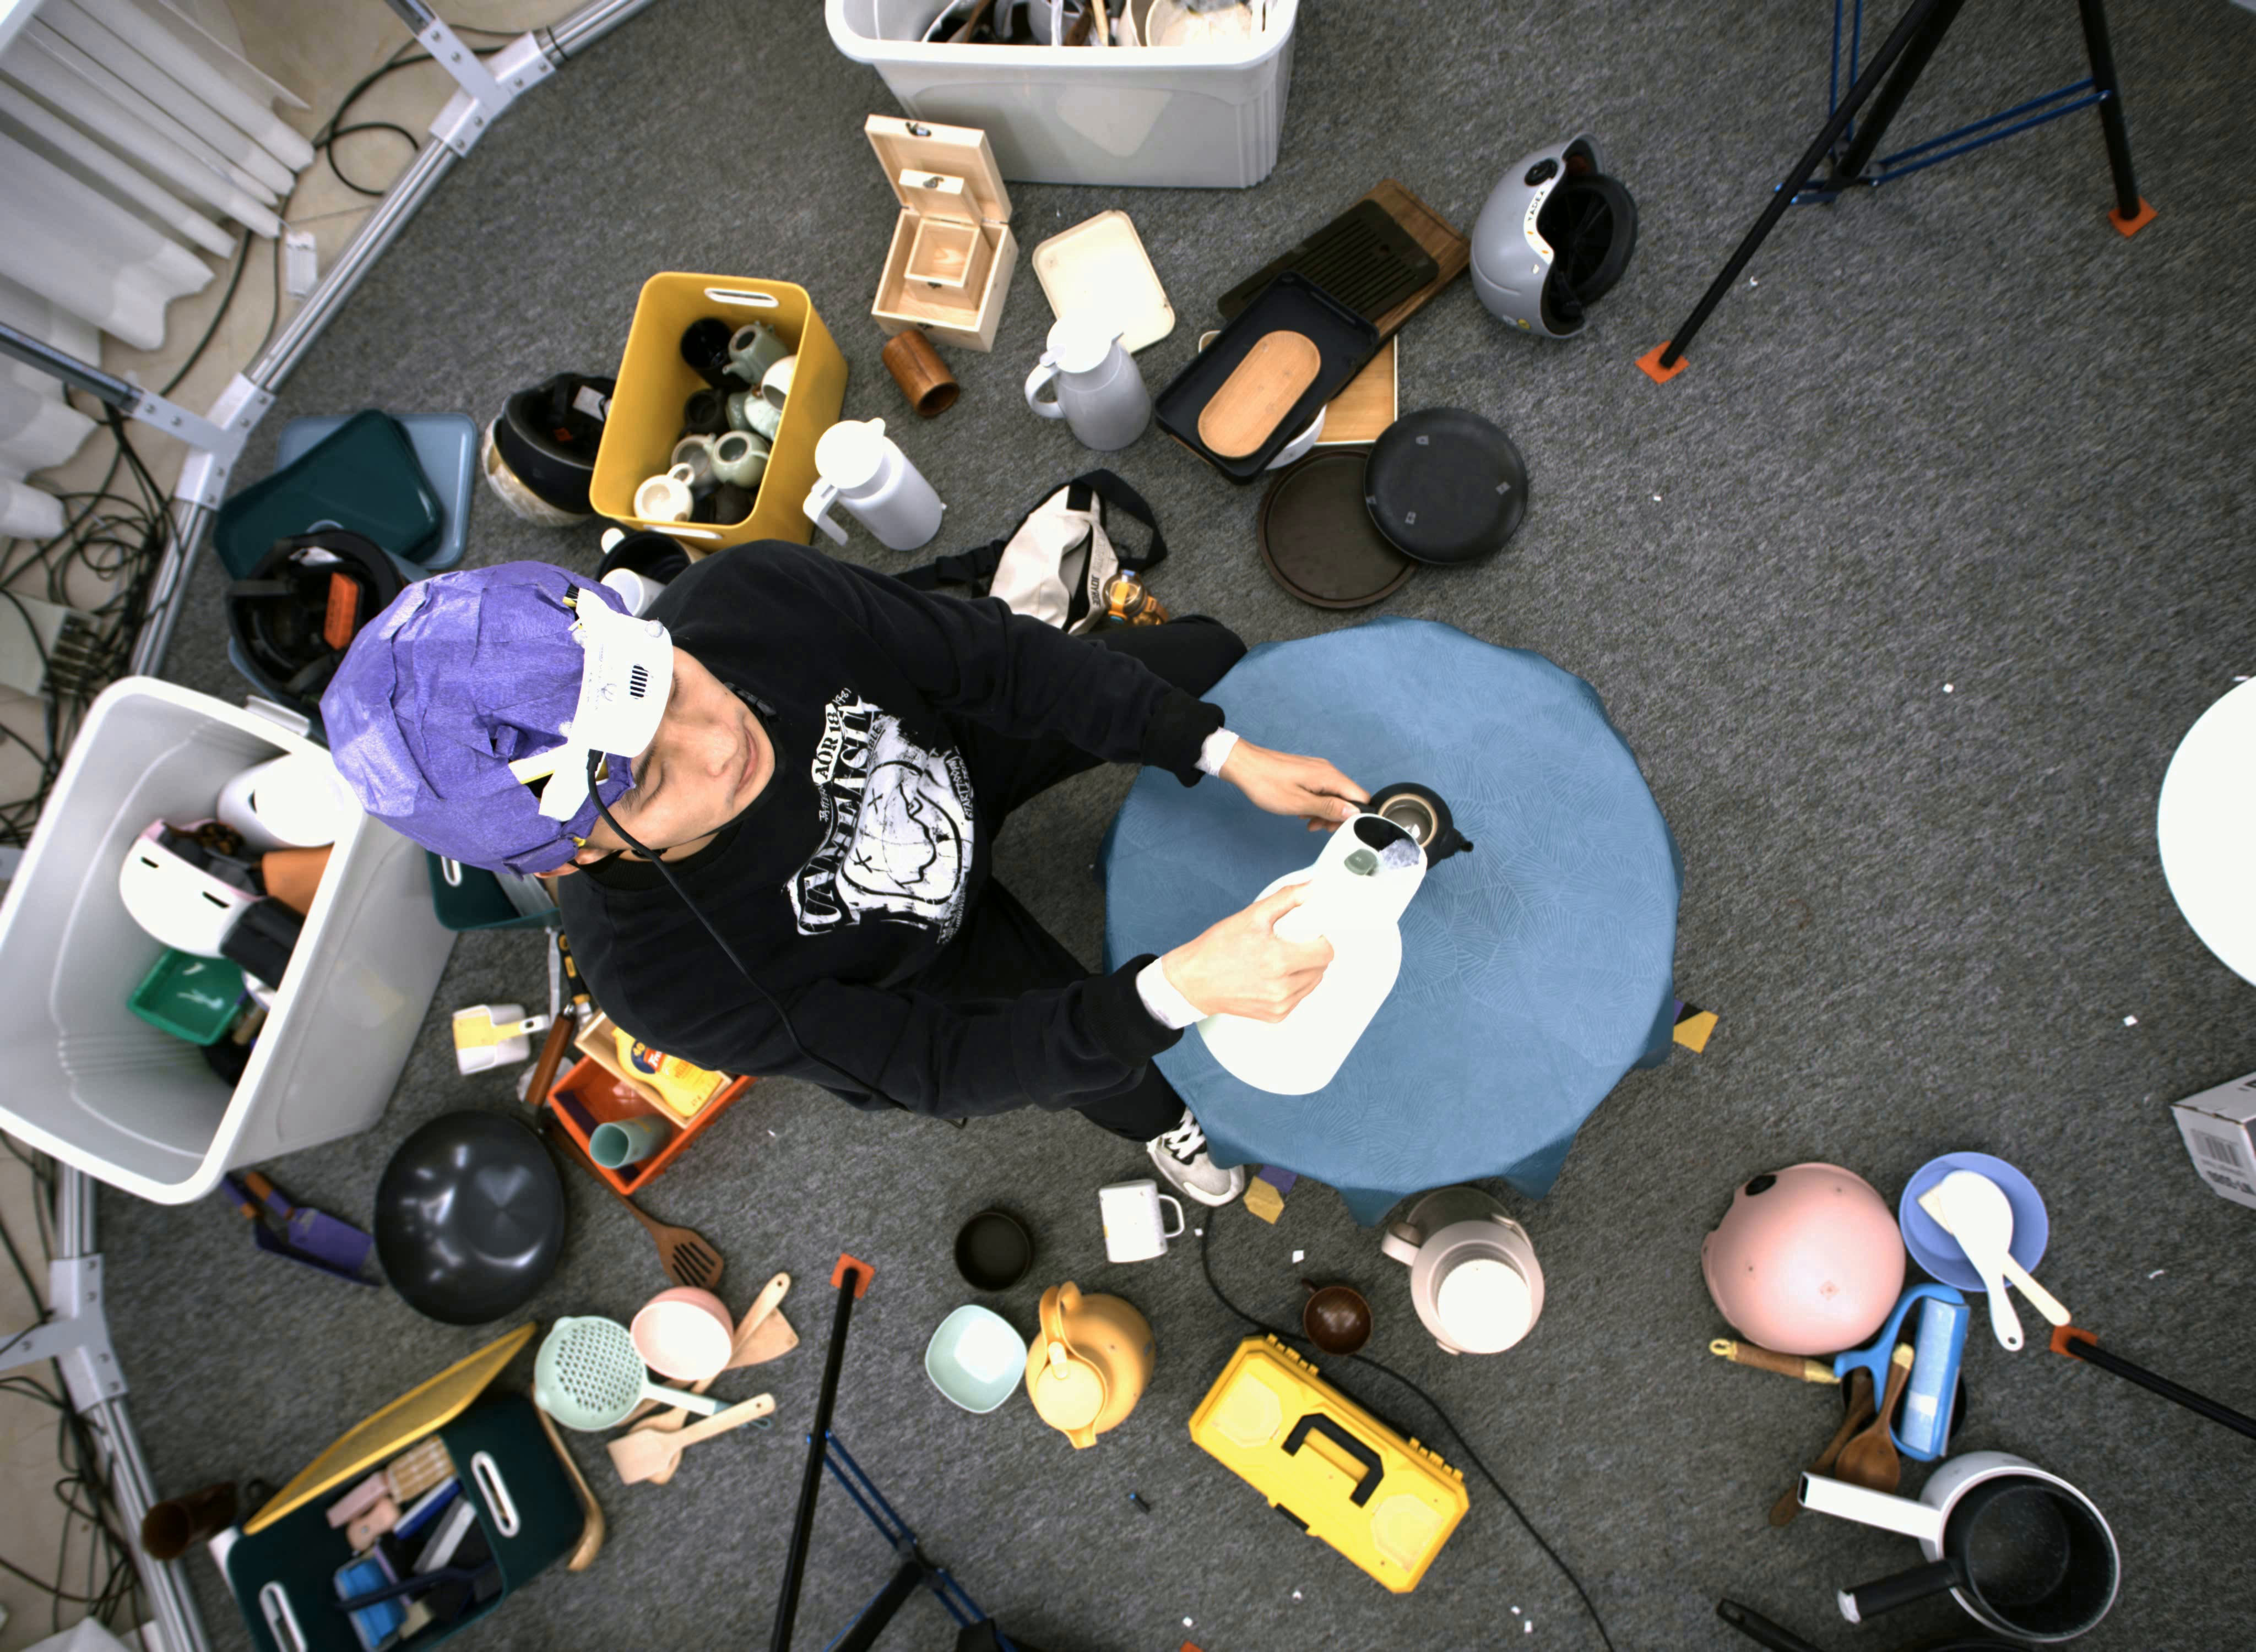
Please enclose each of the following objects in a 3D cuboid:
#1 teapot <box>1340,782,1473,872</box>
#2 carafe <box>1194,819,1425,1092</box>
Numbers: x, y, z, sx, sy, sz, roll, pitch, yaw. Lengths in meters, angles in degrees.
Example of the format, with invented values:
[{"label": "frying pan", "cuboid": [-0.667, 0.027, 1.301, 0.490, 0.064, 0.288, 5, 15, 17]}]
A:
[{"label": "teapot", "cuboid": [0.269, 0.000, 1.336, 0.133, 0.053, 0.090, 20, 86, 12]}, {"label": "carafe", "cuboid": [0.159, 0.113, 1.203, 0.143, 0.183, 0.263, 40, 133, 16]}]
